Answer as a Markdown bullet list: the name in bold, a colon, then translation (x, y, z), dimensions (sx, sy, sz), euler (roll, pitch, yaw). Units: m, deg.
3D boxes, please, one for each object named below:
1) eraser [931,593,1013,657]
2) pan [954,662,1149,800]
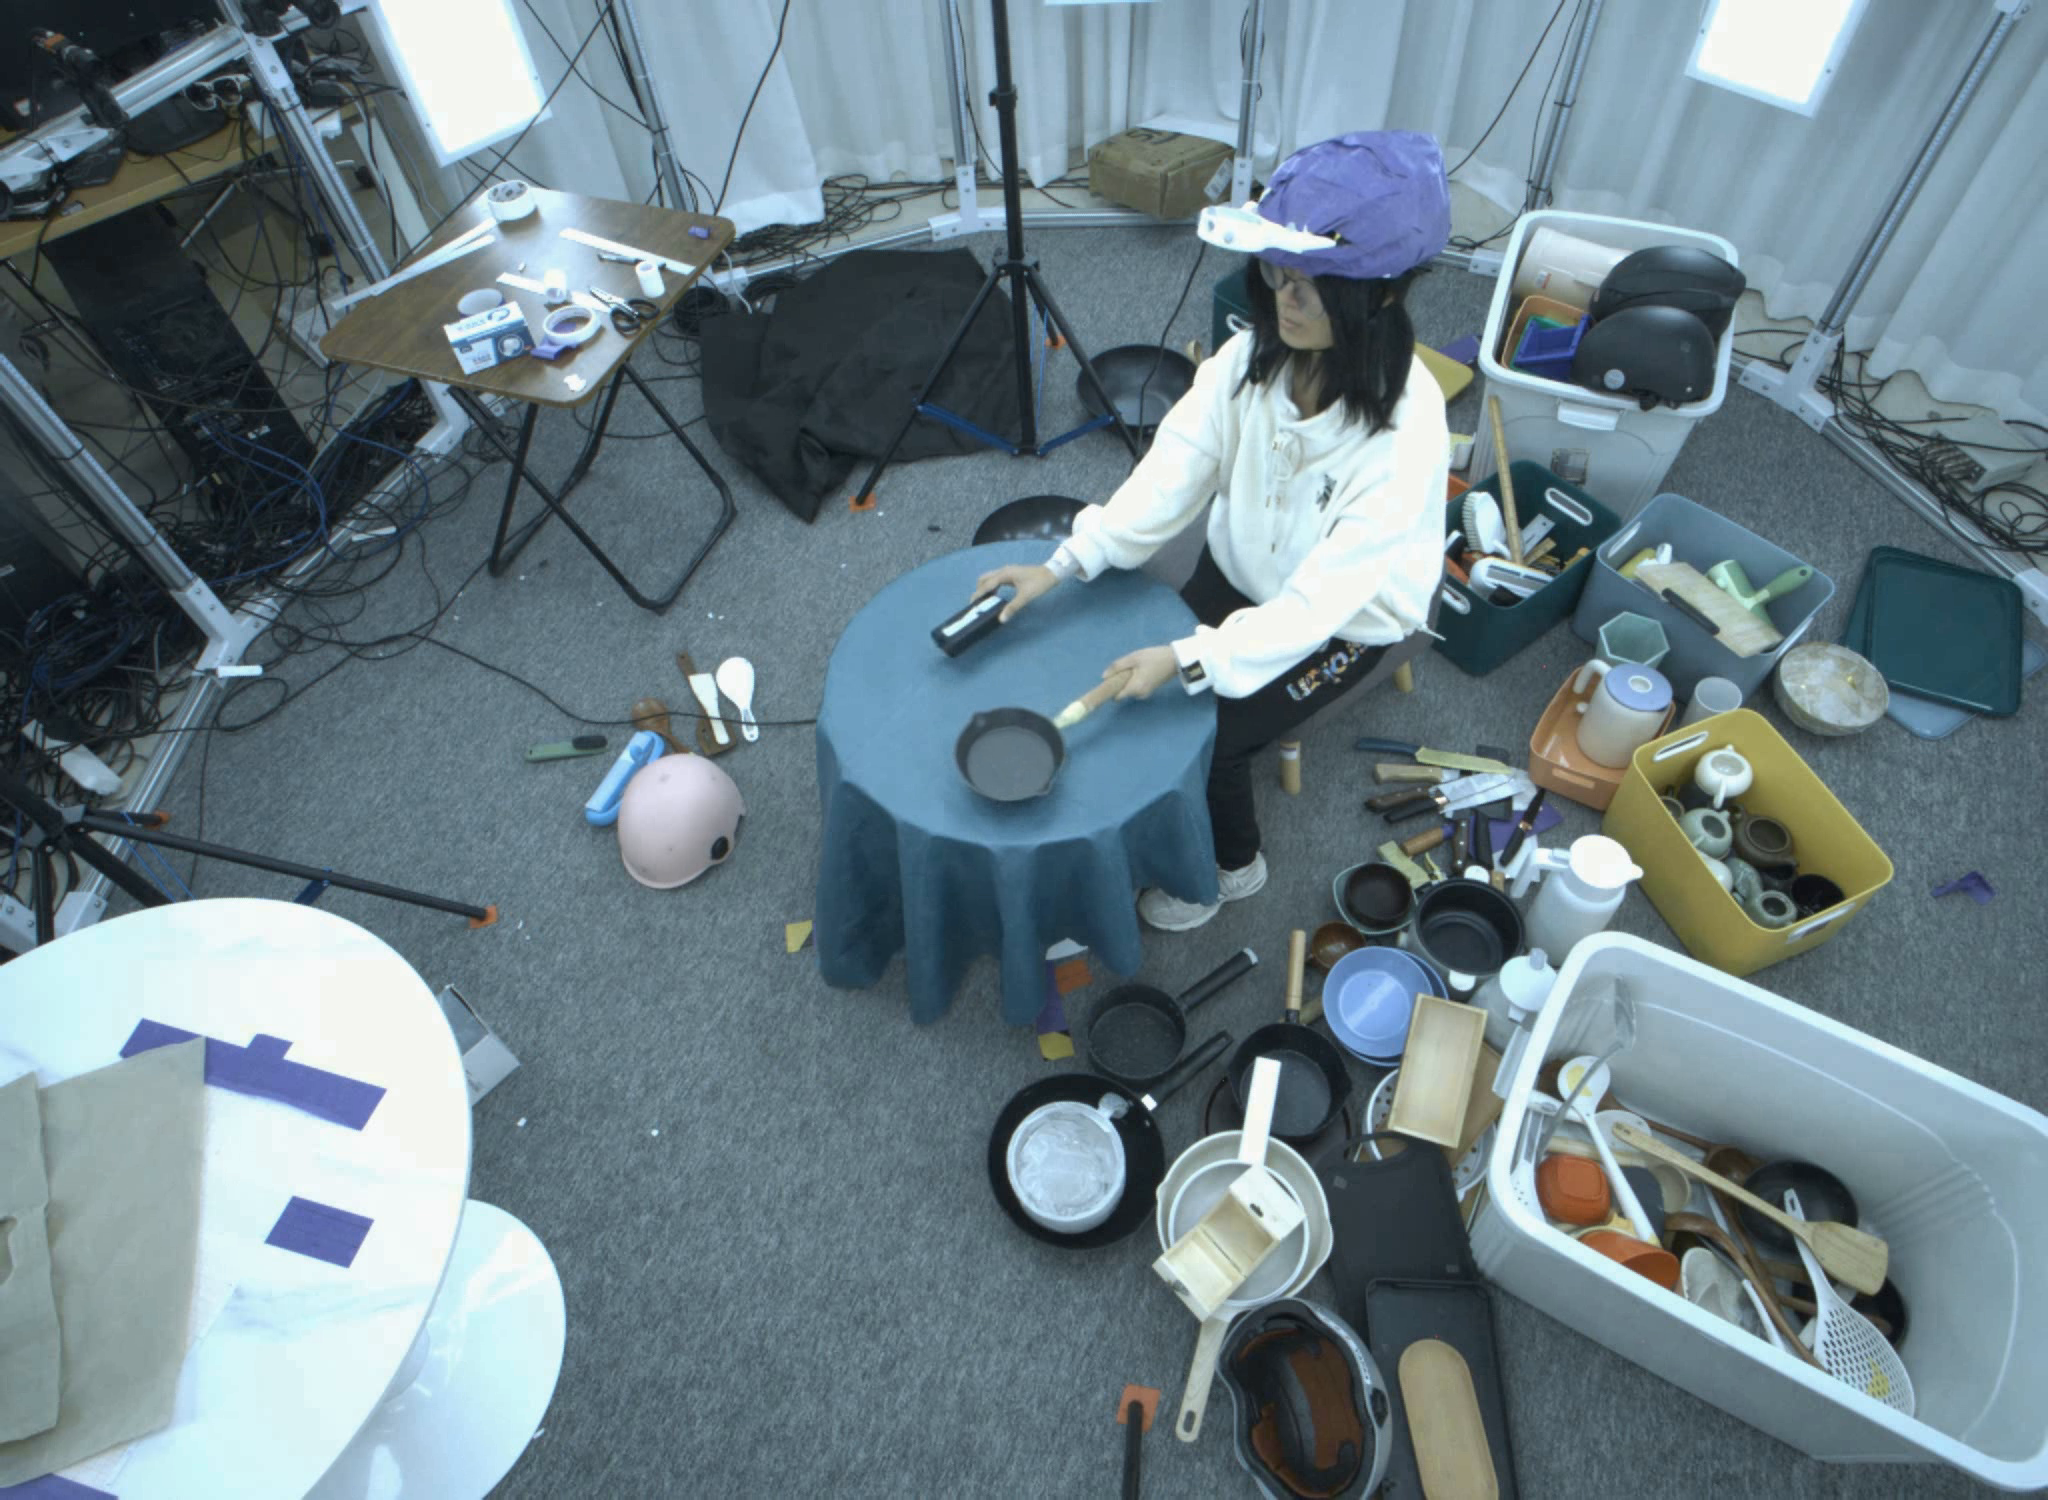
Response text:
- **eraser**: translation (-0.079, -0.192, 1.873), dimensions (0.126, 0.031, 0.052), euler (-37, 54, -26)
- **pan**: translation (0.050, -0.037, 1.755), dimensions (0.327, 0.050, 0.166), euler (-31, 62, -18)
